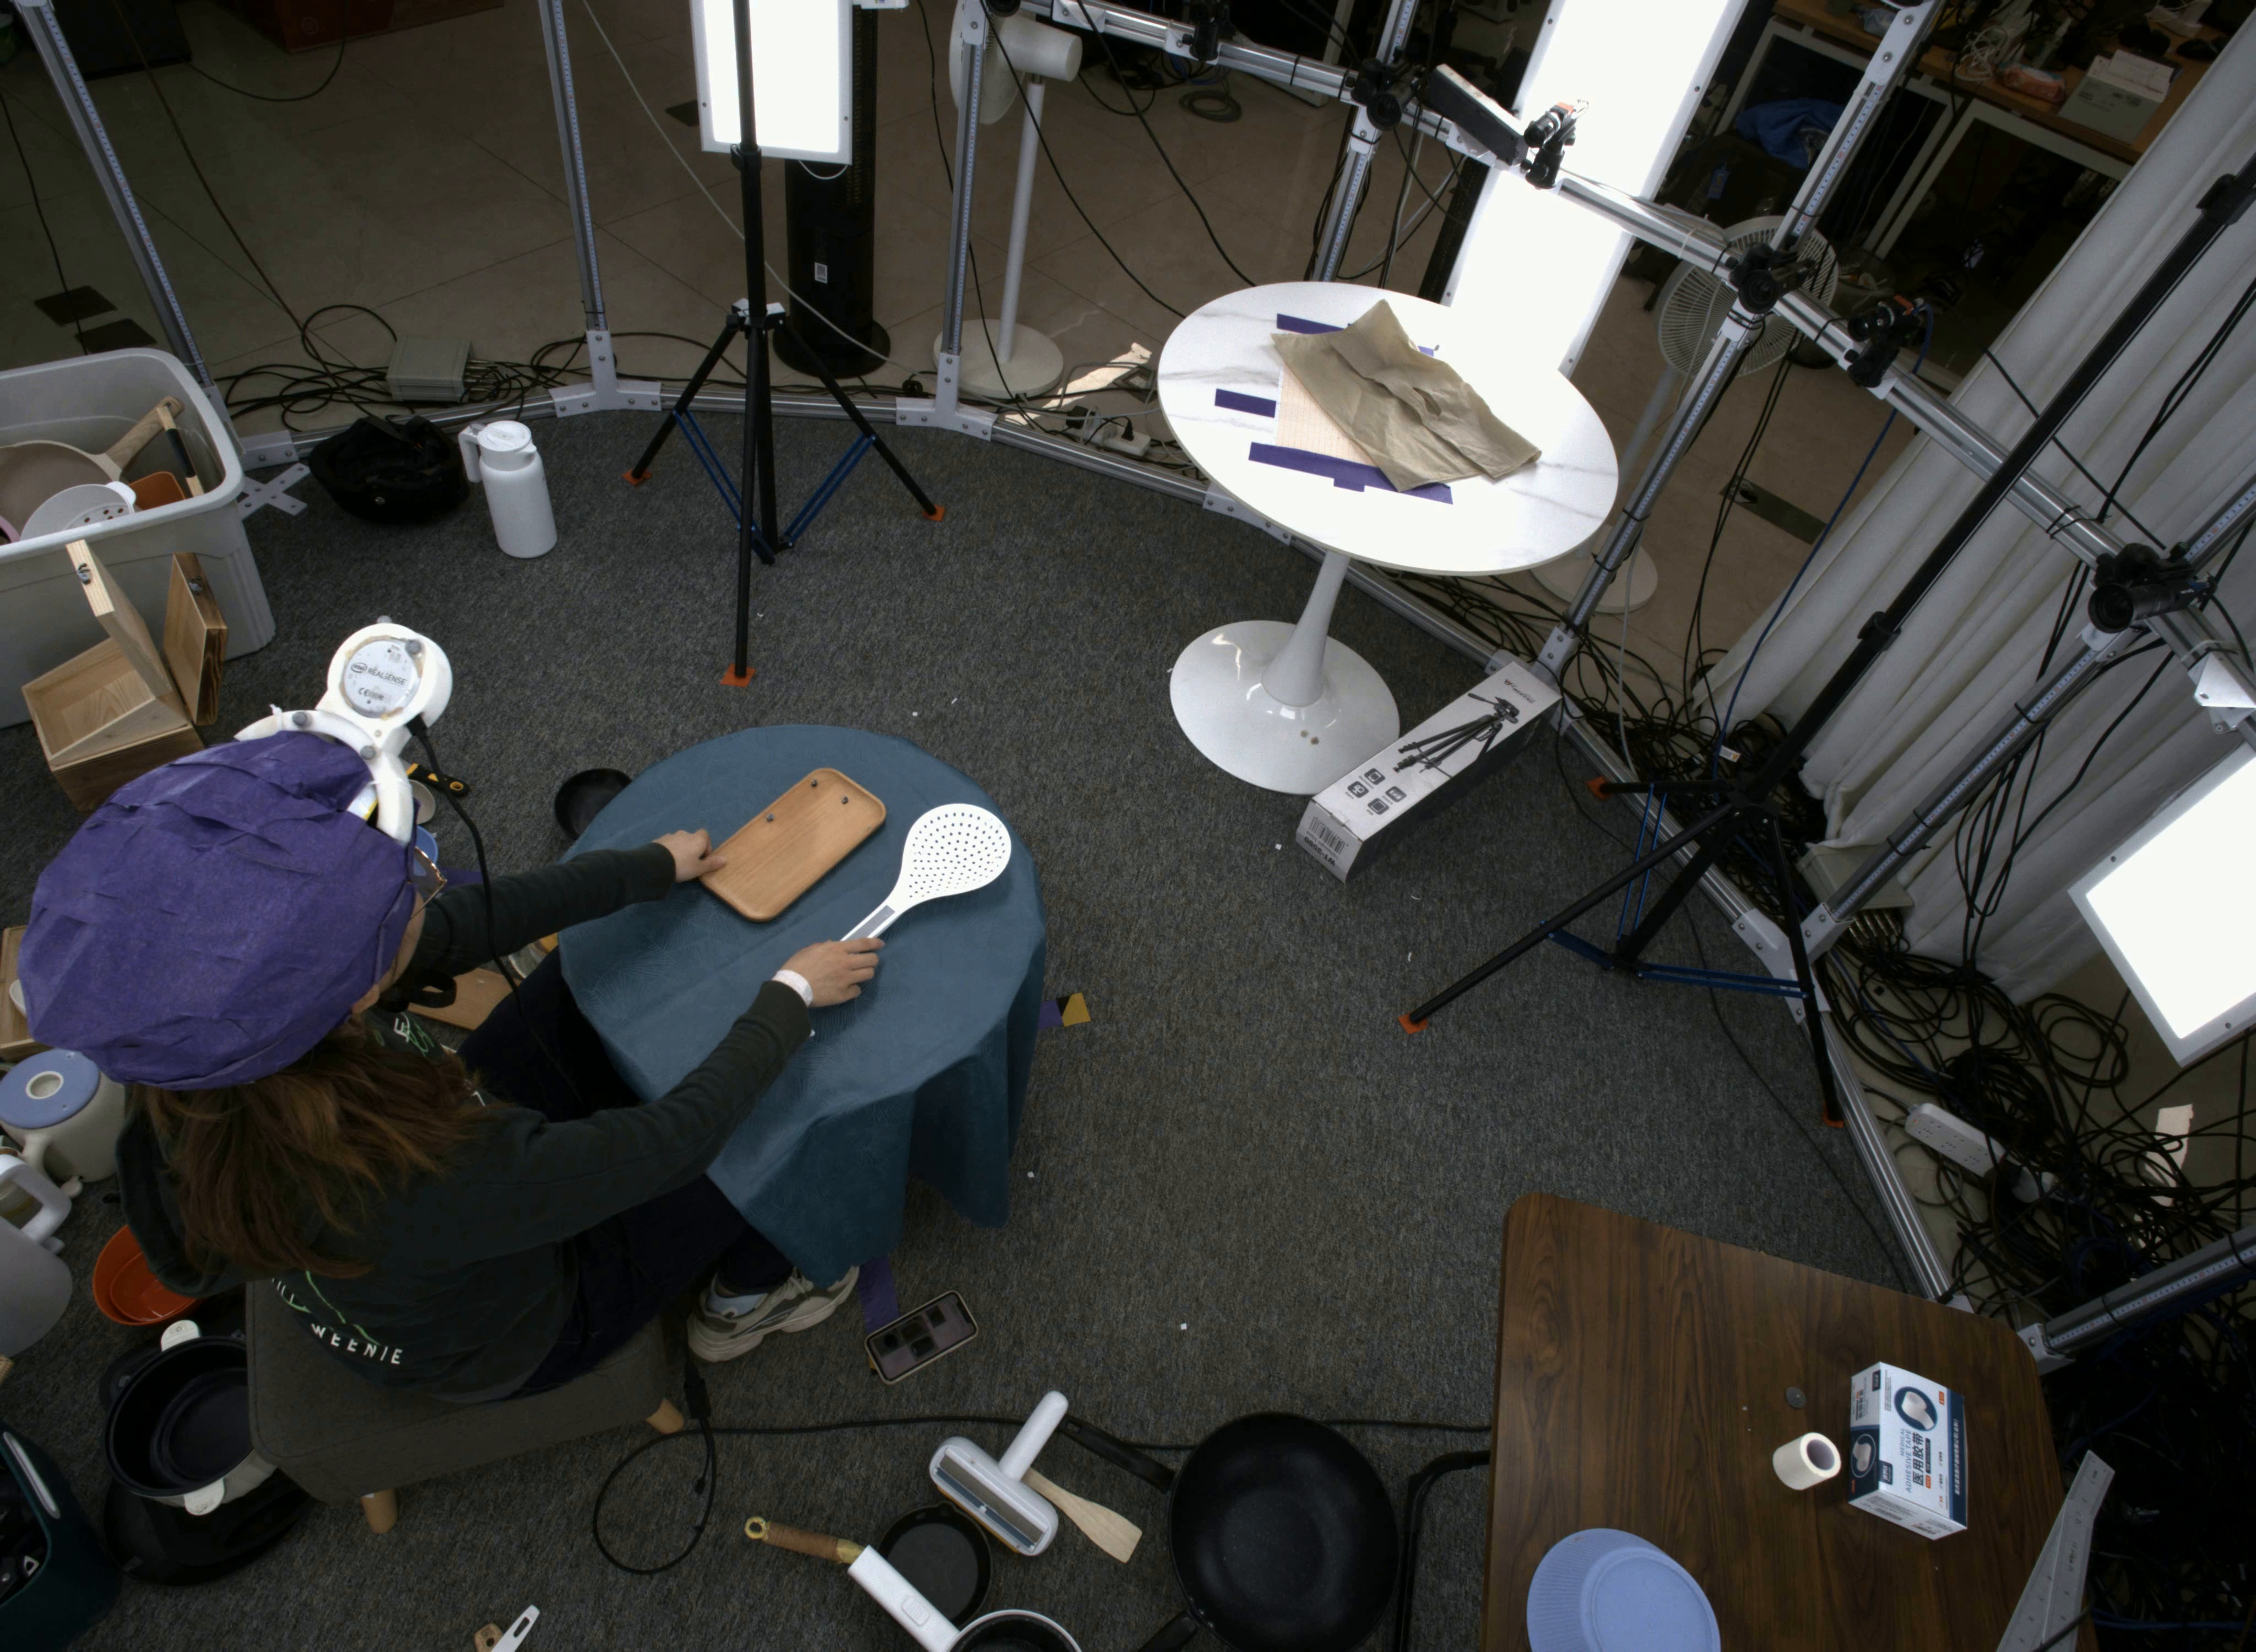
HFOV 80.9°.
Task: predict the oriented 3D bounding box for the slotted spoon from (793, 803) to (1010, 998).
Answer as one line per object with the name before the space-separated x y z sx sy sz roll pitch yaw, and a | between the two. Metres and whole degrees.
slotted spoon | -0.291 0.095 1.664 0.133 0.047 0.350 36 54 16

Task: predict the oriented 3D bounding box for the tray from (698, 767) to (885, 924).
tray | -0.438 0.022 1.699 0.128 0.023 0.250 34 54 14
